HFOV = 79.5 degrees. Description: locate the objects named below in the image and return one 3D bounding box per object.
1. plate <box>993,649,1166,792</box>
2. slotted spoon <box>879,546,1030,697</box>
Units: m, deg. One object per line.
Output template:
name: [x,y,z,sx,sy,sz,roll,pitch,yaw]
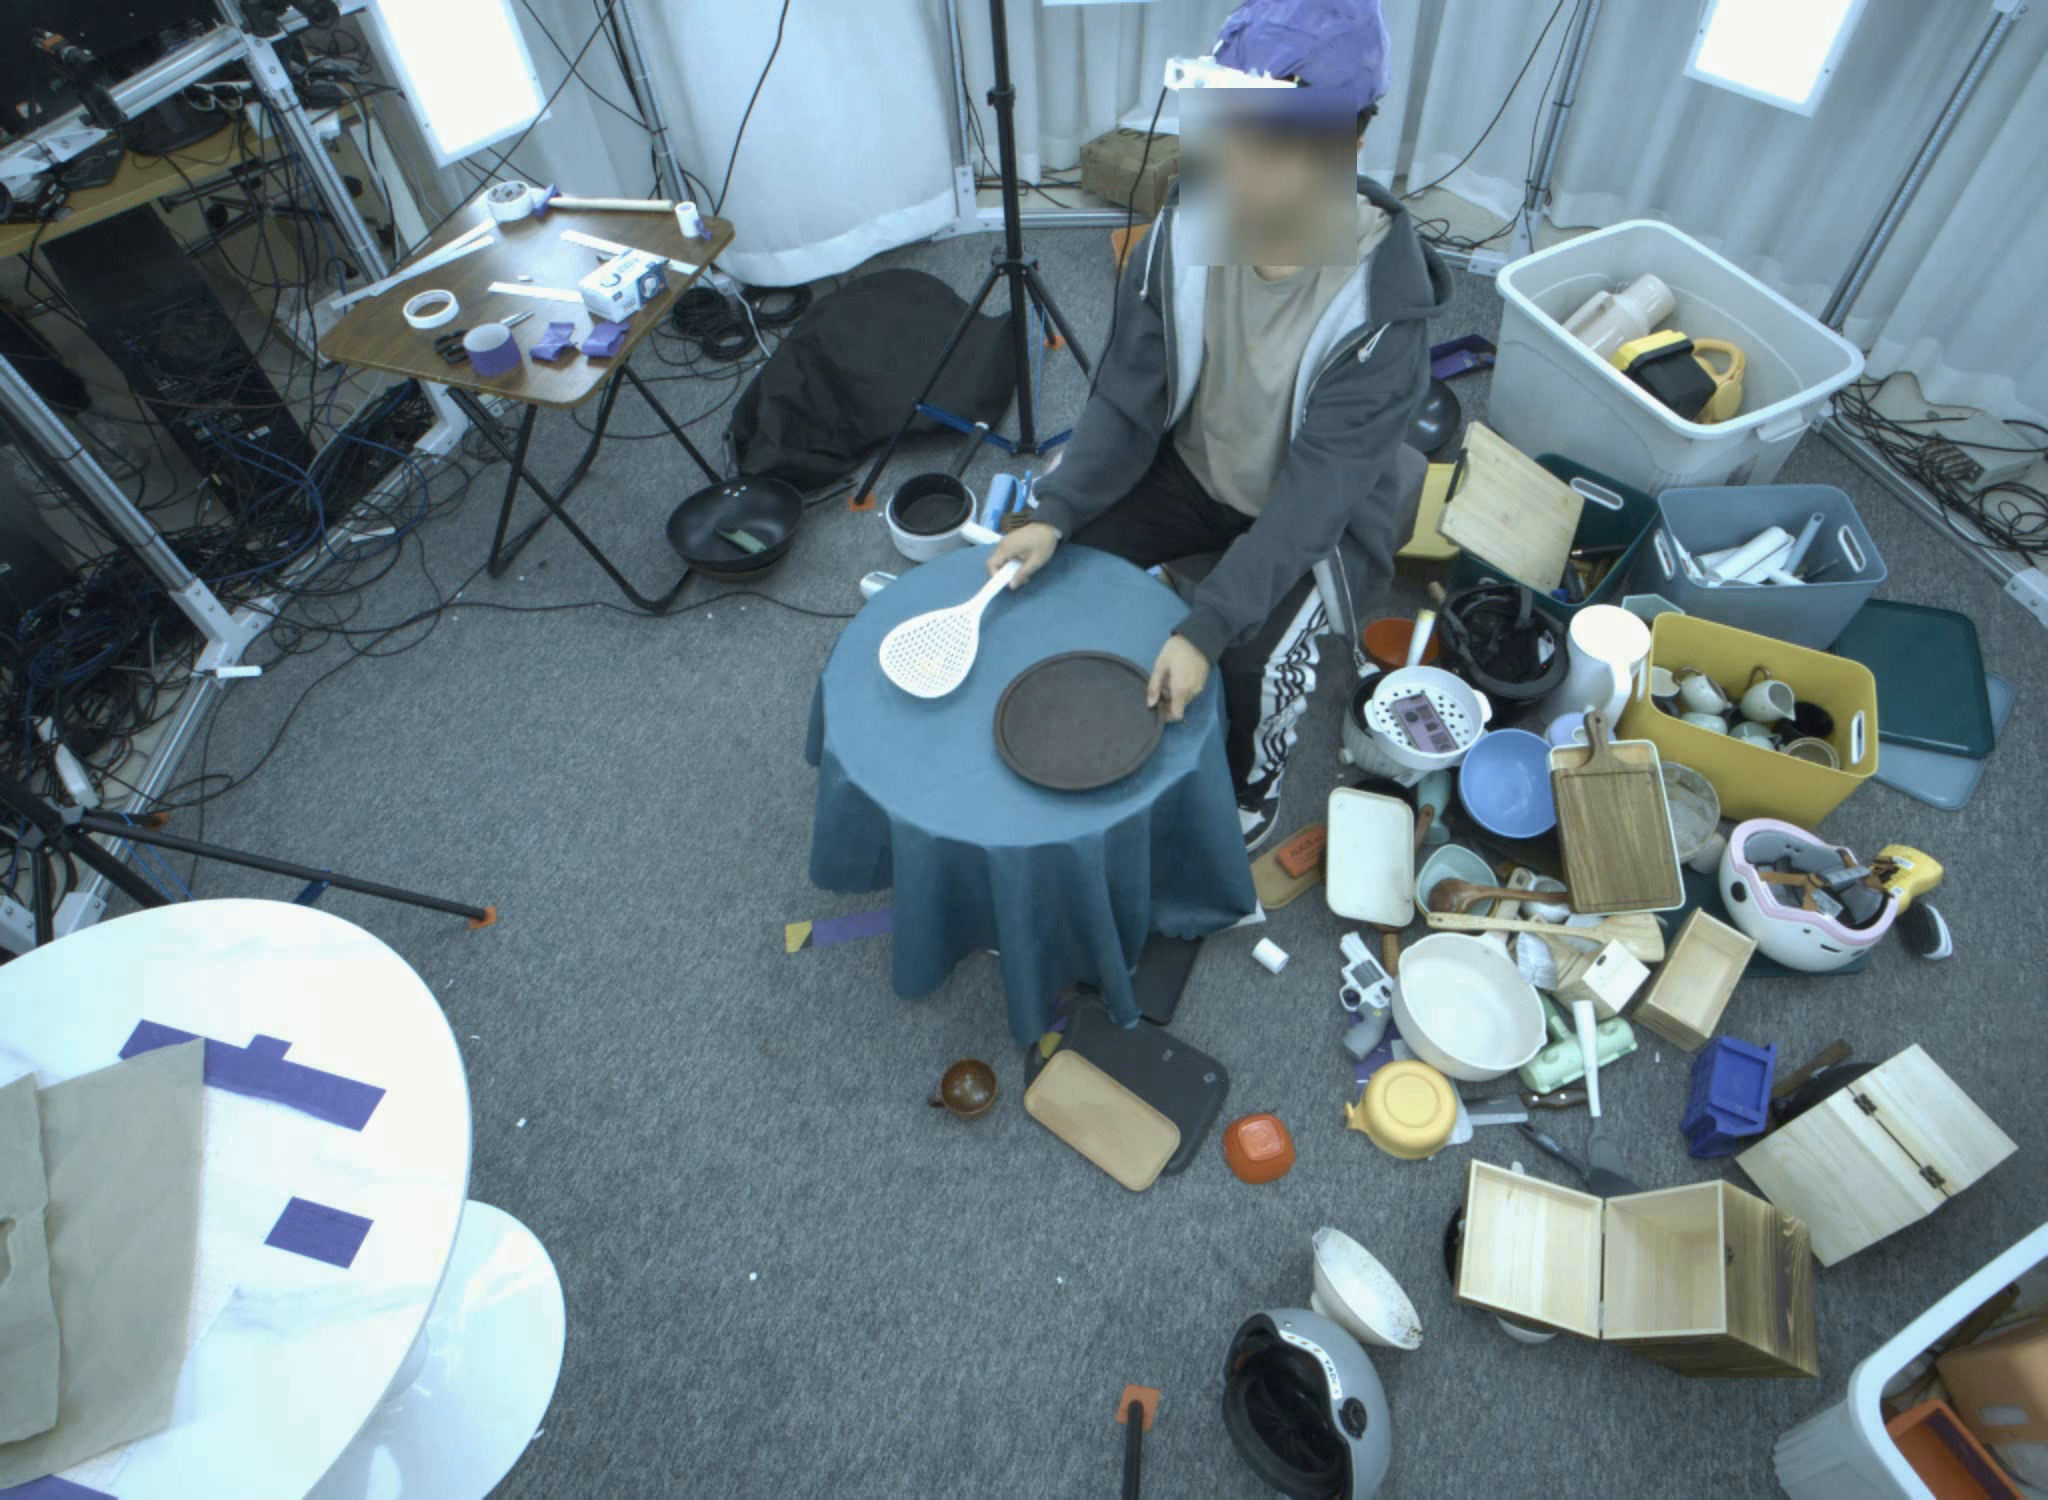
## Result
plate: [0.080,-0.044,1.794,0.254,0.029,0.252,-3,54,6]
slotted spoon: [-0.087,-0.211,1.906,0.136,0.050,0.349,34,66,9]
